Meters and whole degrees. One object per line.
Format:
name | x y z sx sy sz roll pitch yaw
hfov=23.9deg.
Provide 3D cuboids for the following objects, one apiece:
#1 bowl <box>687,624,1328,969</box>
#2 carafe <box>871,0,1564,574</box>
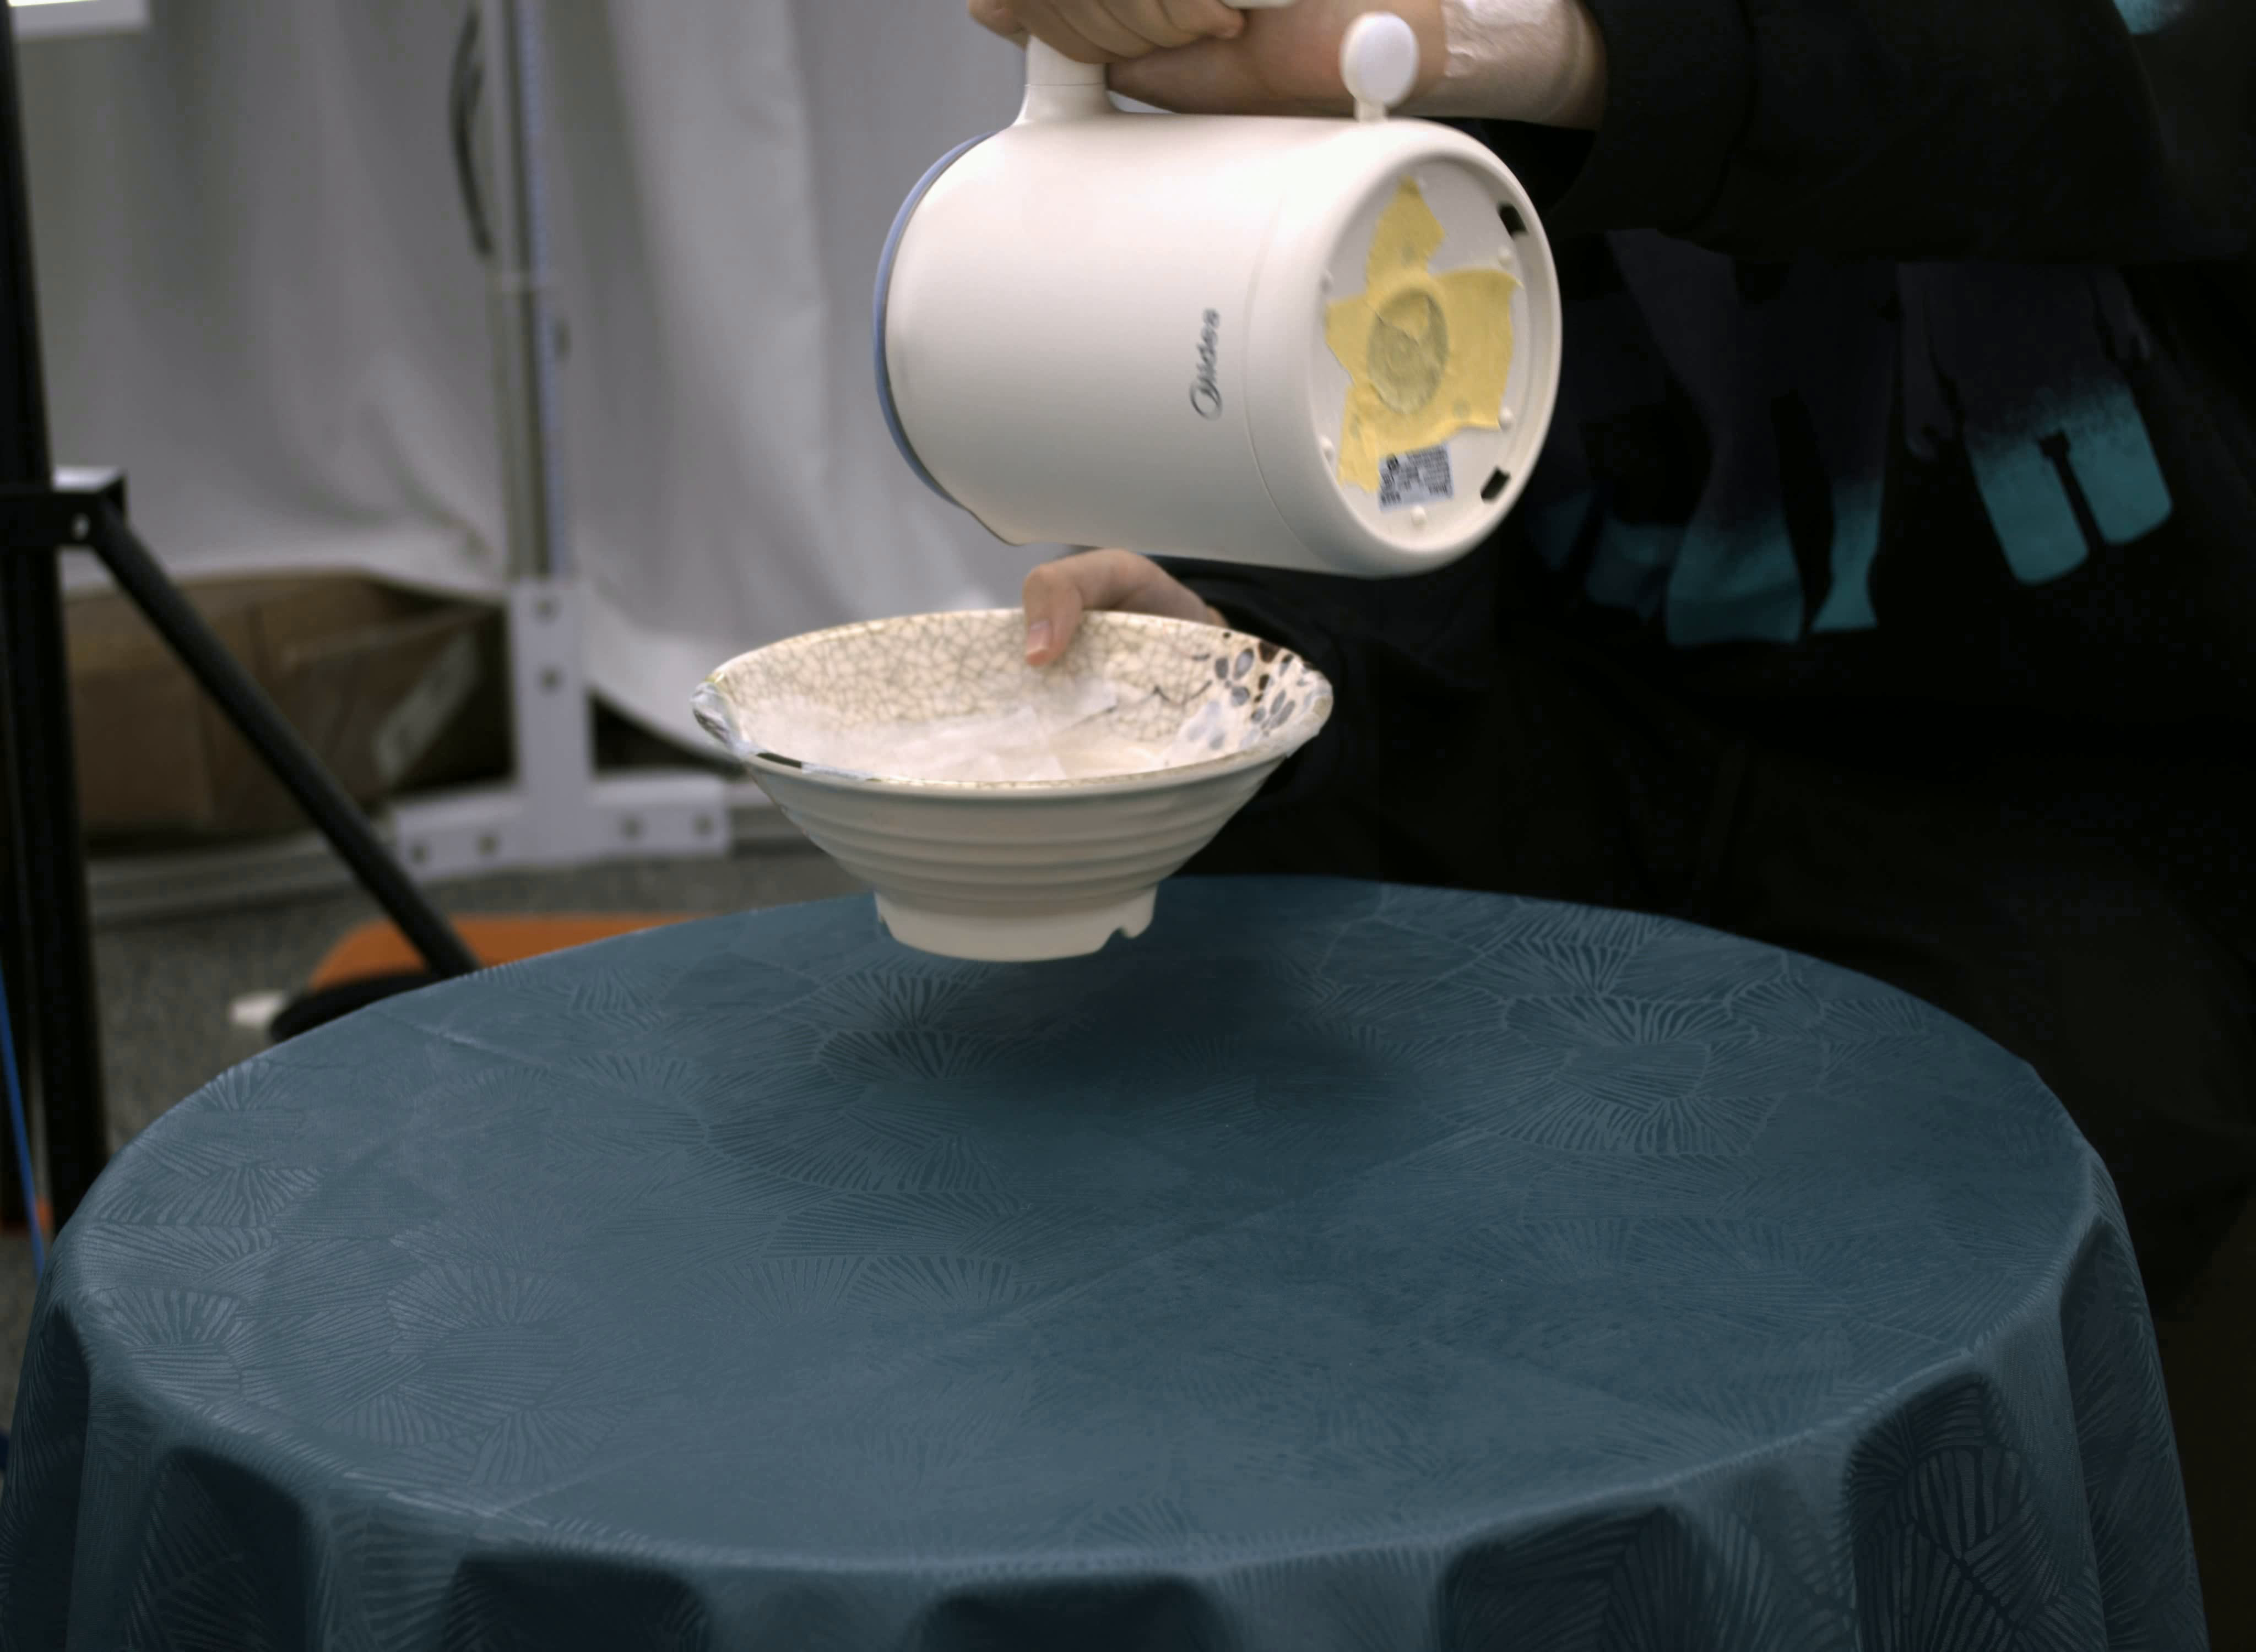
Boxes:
bowl | -0.039 -0.004 1.693 0.203 0.078 0.205 1 15 -2
carafe | 0.026 -0.170 1.569 0.186 0.191 0.129 10 12 41
